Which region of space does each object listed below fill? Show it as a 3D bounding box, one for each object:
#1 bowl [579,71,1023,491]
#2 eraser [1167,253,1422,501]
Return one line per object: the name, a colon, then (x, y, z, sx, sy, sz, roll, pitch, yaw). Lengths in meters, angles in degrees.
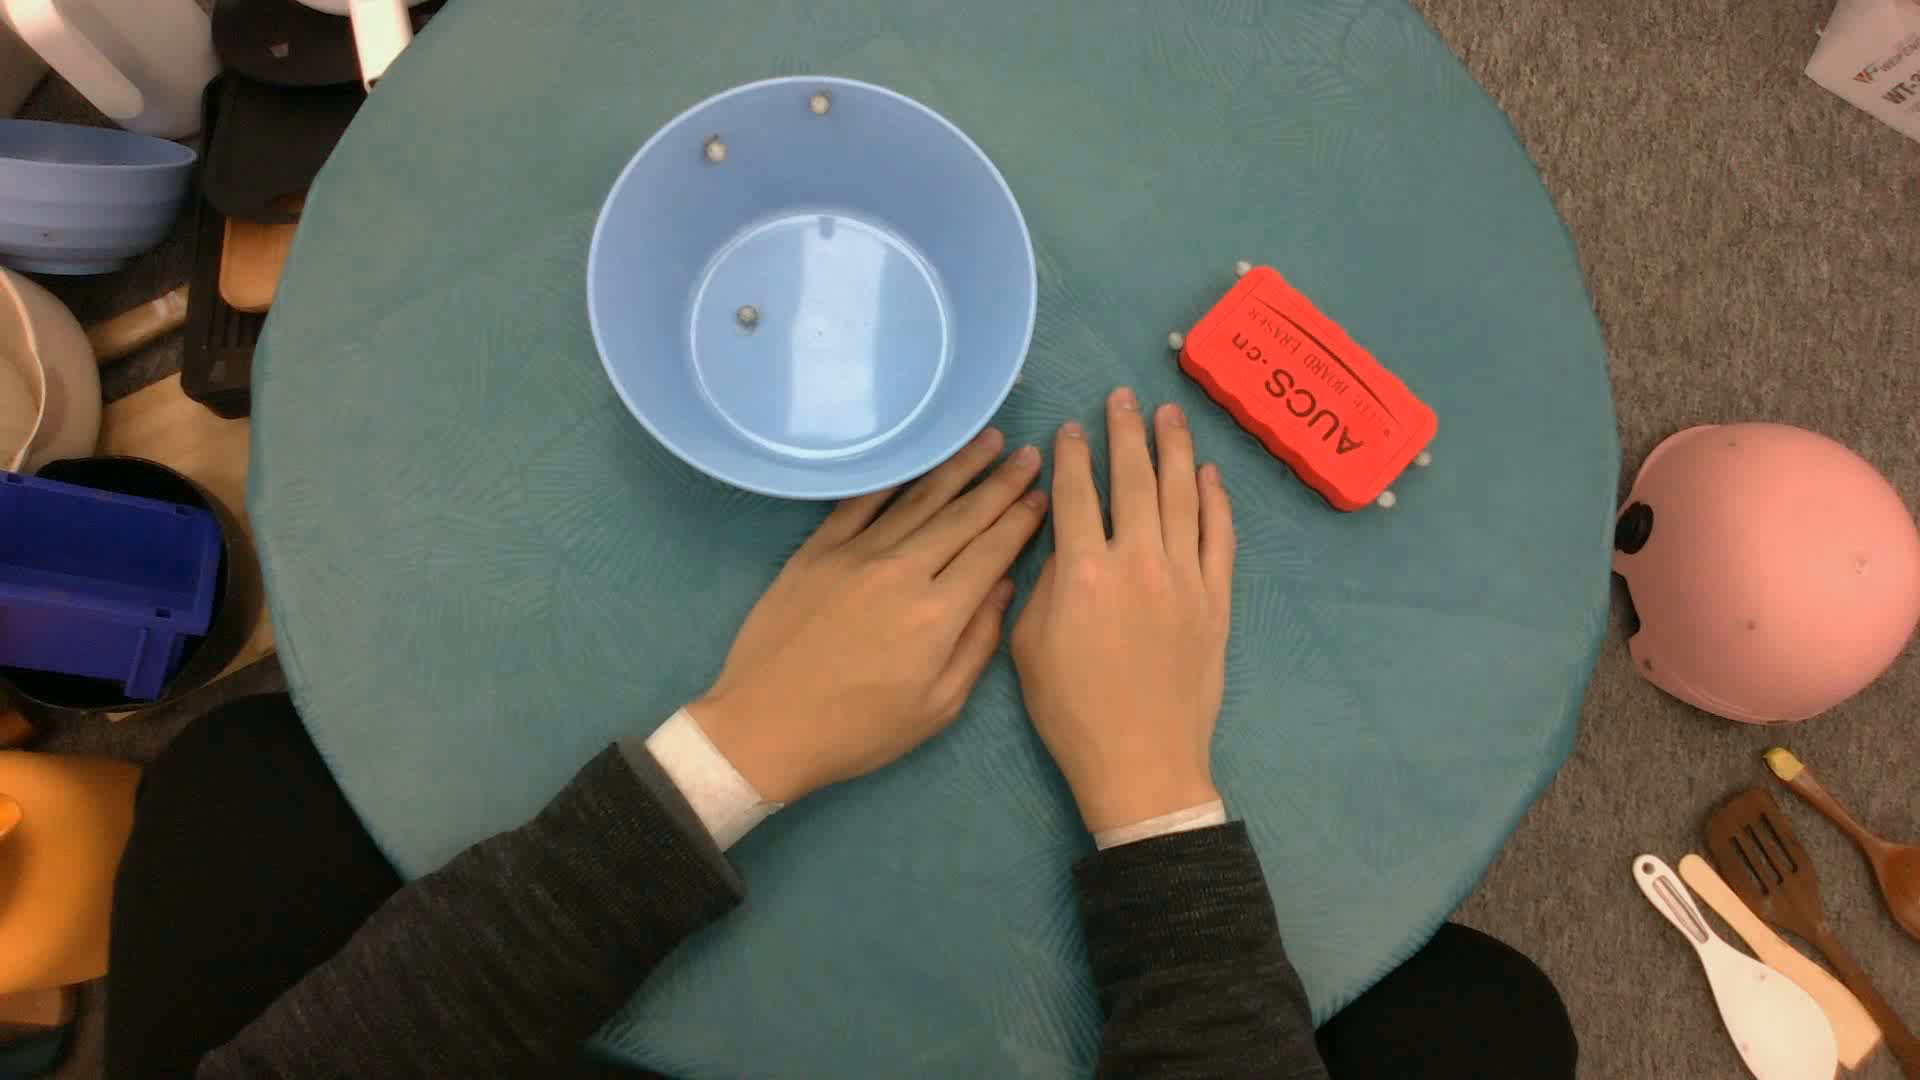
bowl: (-0.064, -0.099, 0.574, 0.176, 0.070, 0.176, 1, 79, -5)
eraser: (0.148, -0.073, 0.611, 0.108, 0.023, 0.059, 44, 77, 4)
